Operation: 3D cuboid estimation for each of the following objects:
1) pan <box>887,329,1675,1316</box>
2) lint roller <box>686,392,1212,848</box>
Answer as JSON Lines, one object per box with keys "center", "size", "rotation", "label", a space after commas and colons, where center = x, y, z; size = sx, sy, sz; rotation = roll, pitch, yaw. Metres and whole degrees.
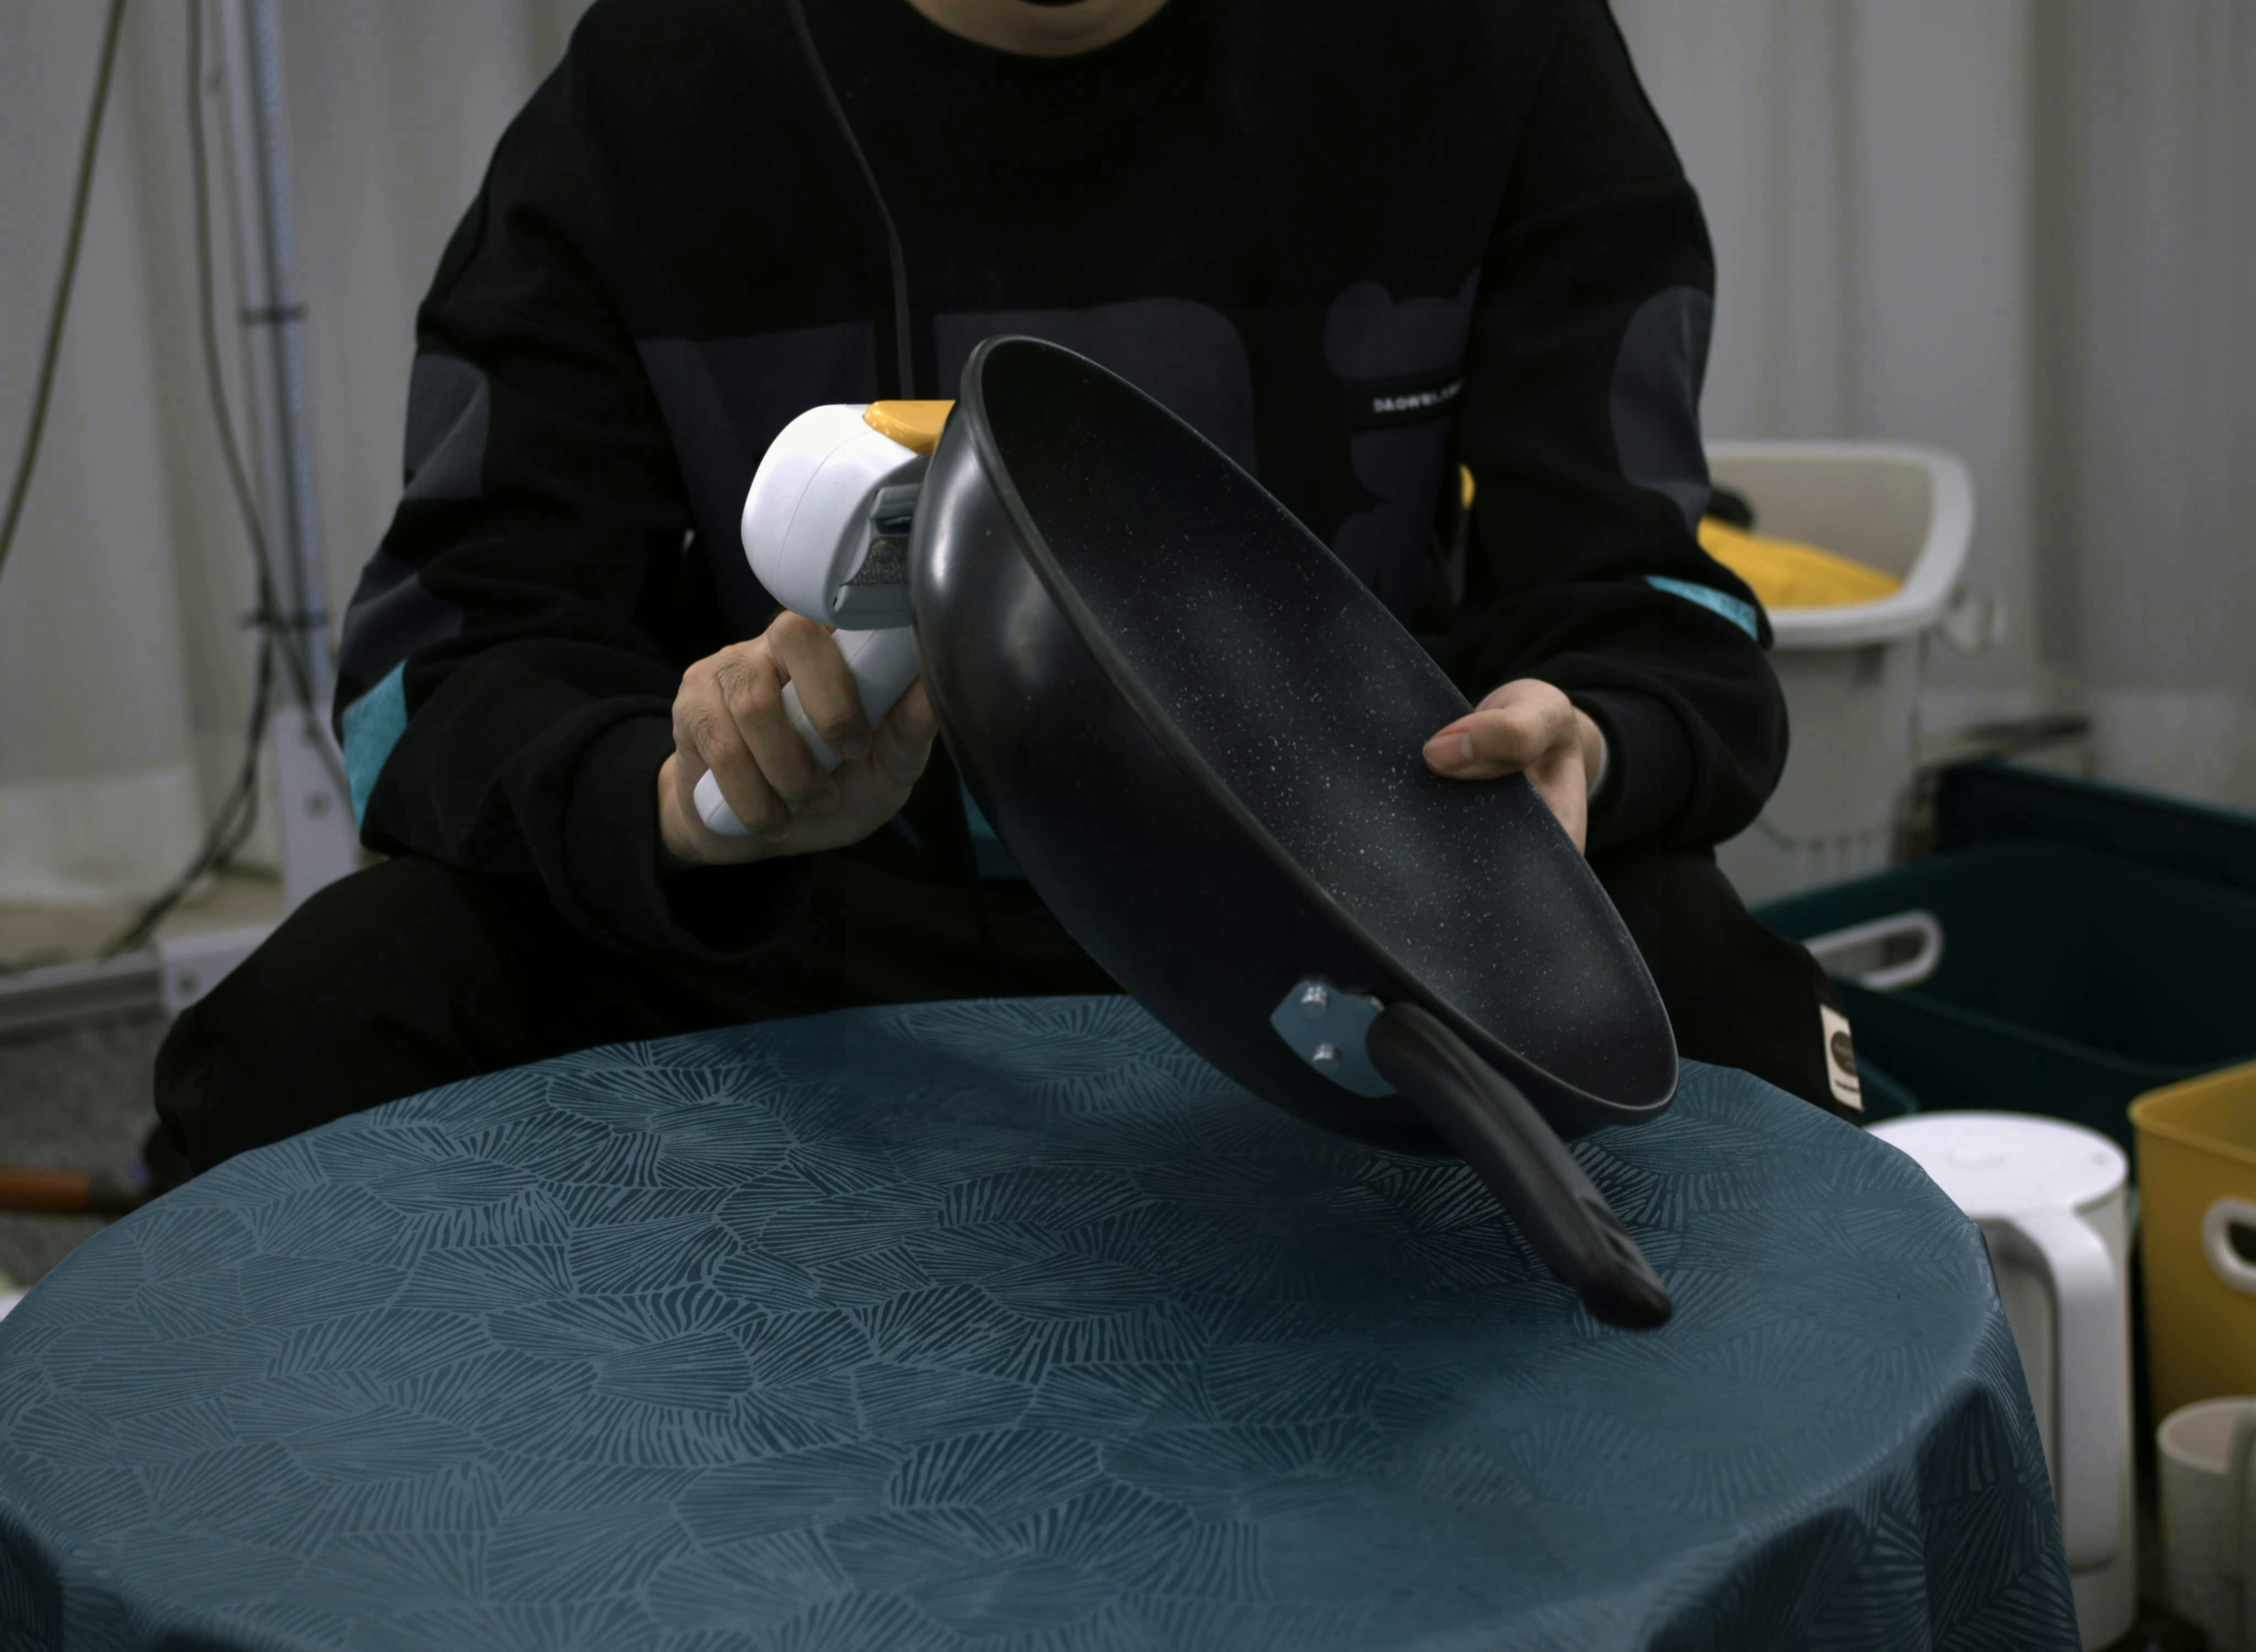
{"center": [0.051, 0.026, 1.584], "size": [0.307, 0.111, 0.483], "rotation": [37, 18, -27], "label": "pan"}
{"center": [-0.077, -0.059, 1.787], "size": [0.075, 0.191, 0.192], "rotation": [41, 23, 22], "label": "lint roller"}
